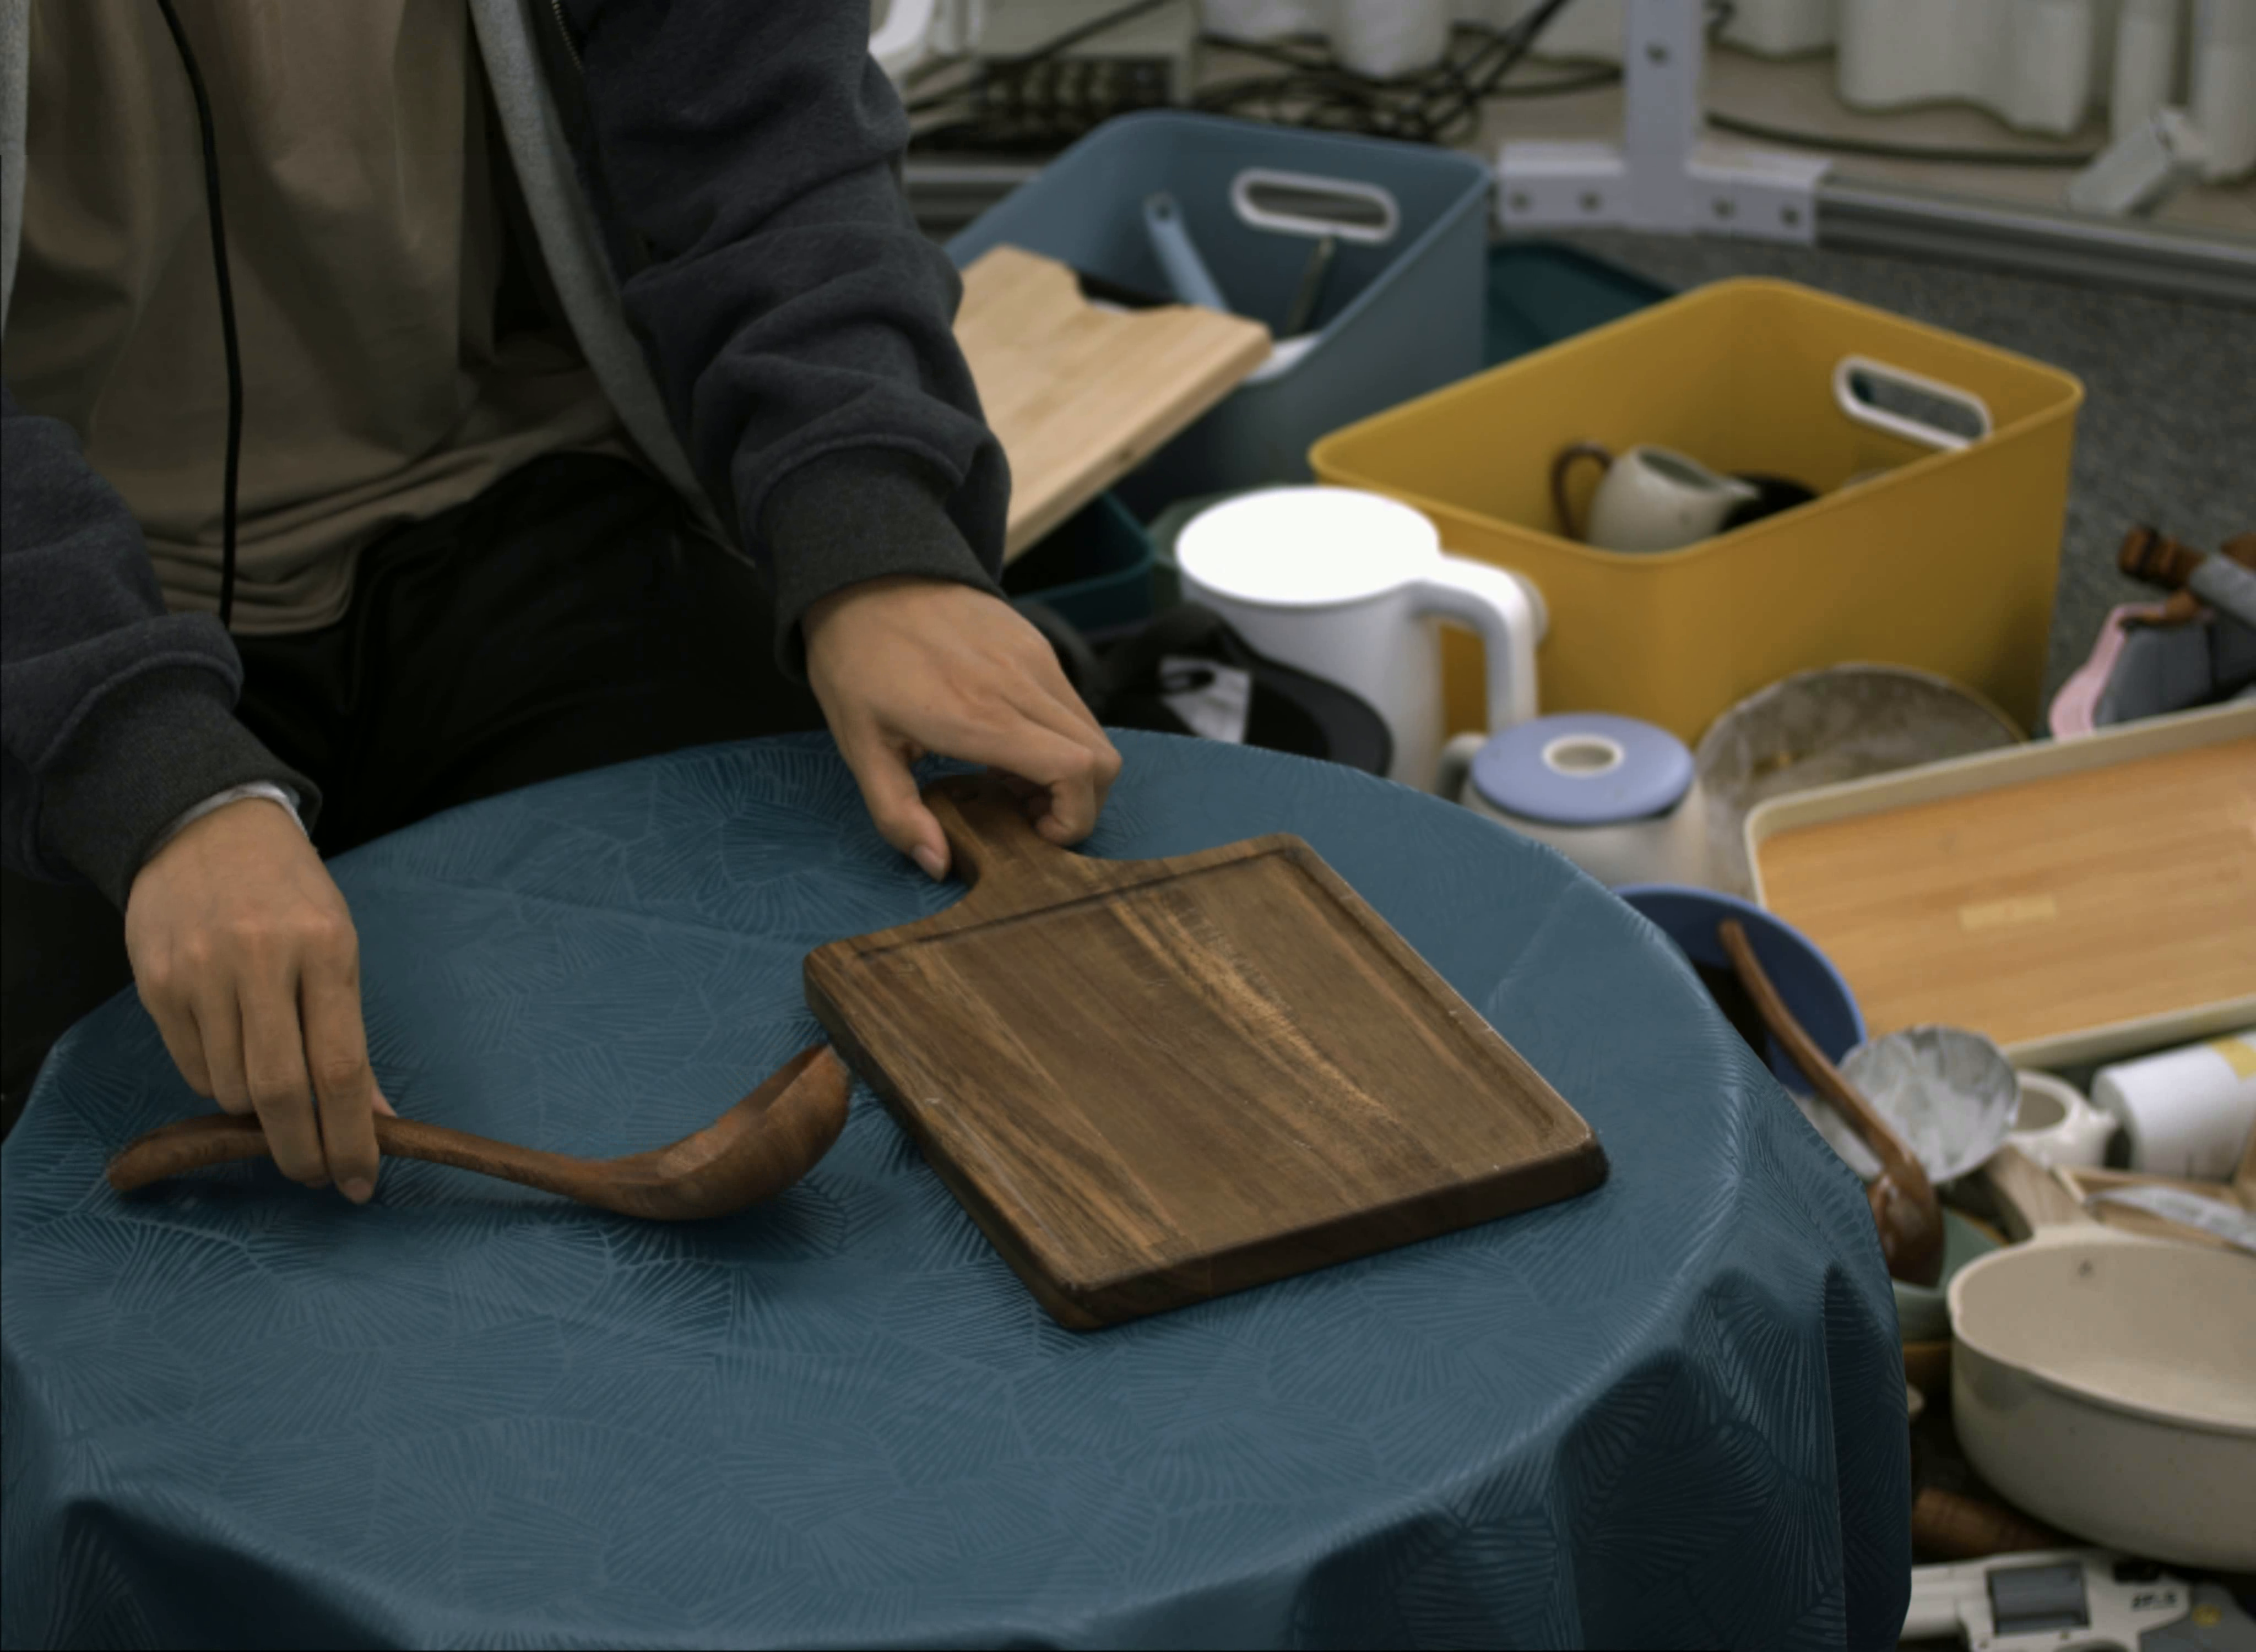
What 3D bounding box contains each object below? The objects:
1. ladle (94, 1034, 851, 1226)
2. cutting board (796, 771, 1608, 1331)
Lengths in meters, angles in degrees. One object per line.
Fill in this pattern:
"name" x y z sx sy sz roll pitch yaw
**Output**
"ladle" -0.219 0.097 1.860 0.258 0.065 0.077 2 13 10
"cutting board" 0.001 0.061 1.954 0.202 0.023 0.354 -12 29 -20
